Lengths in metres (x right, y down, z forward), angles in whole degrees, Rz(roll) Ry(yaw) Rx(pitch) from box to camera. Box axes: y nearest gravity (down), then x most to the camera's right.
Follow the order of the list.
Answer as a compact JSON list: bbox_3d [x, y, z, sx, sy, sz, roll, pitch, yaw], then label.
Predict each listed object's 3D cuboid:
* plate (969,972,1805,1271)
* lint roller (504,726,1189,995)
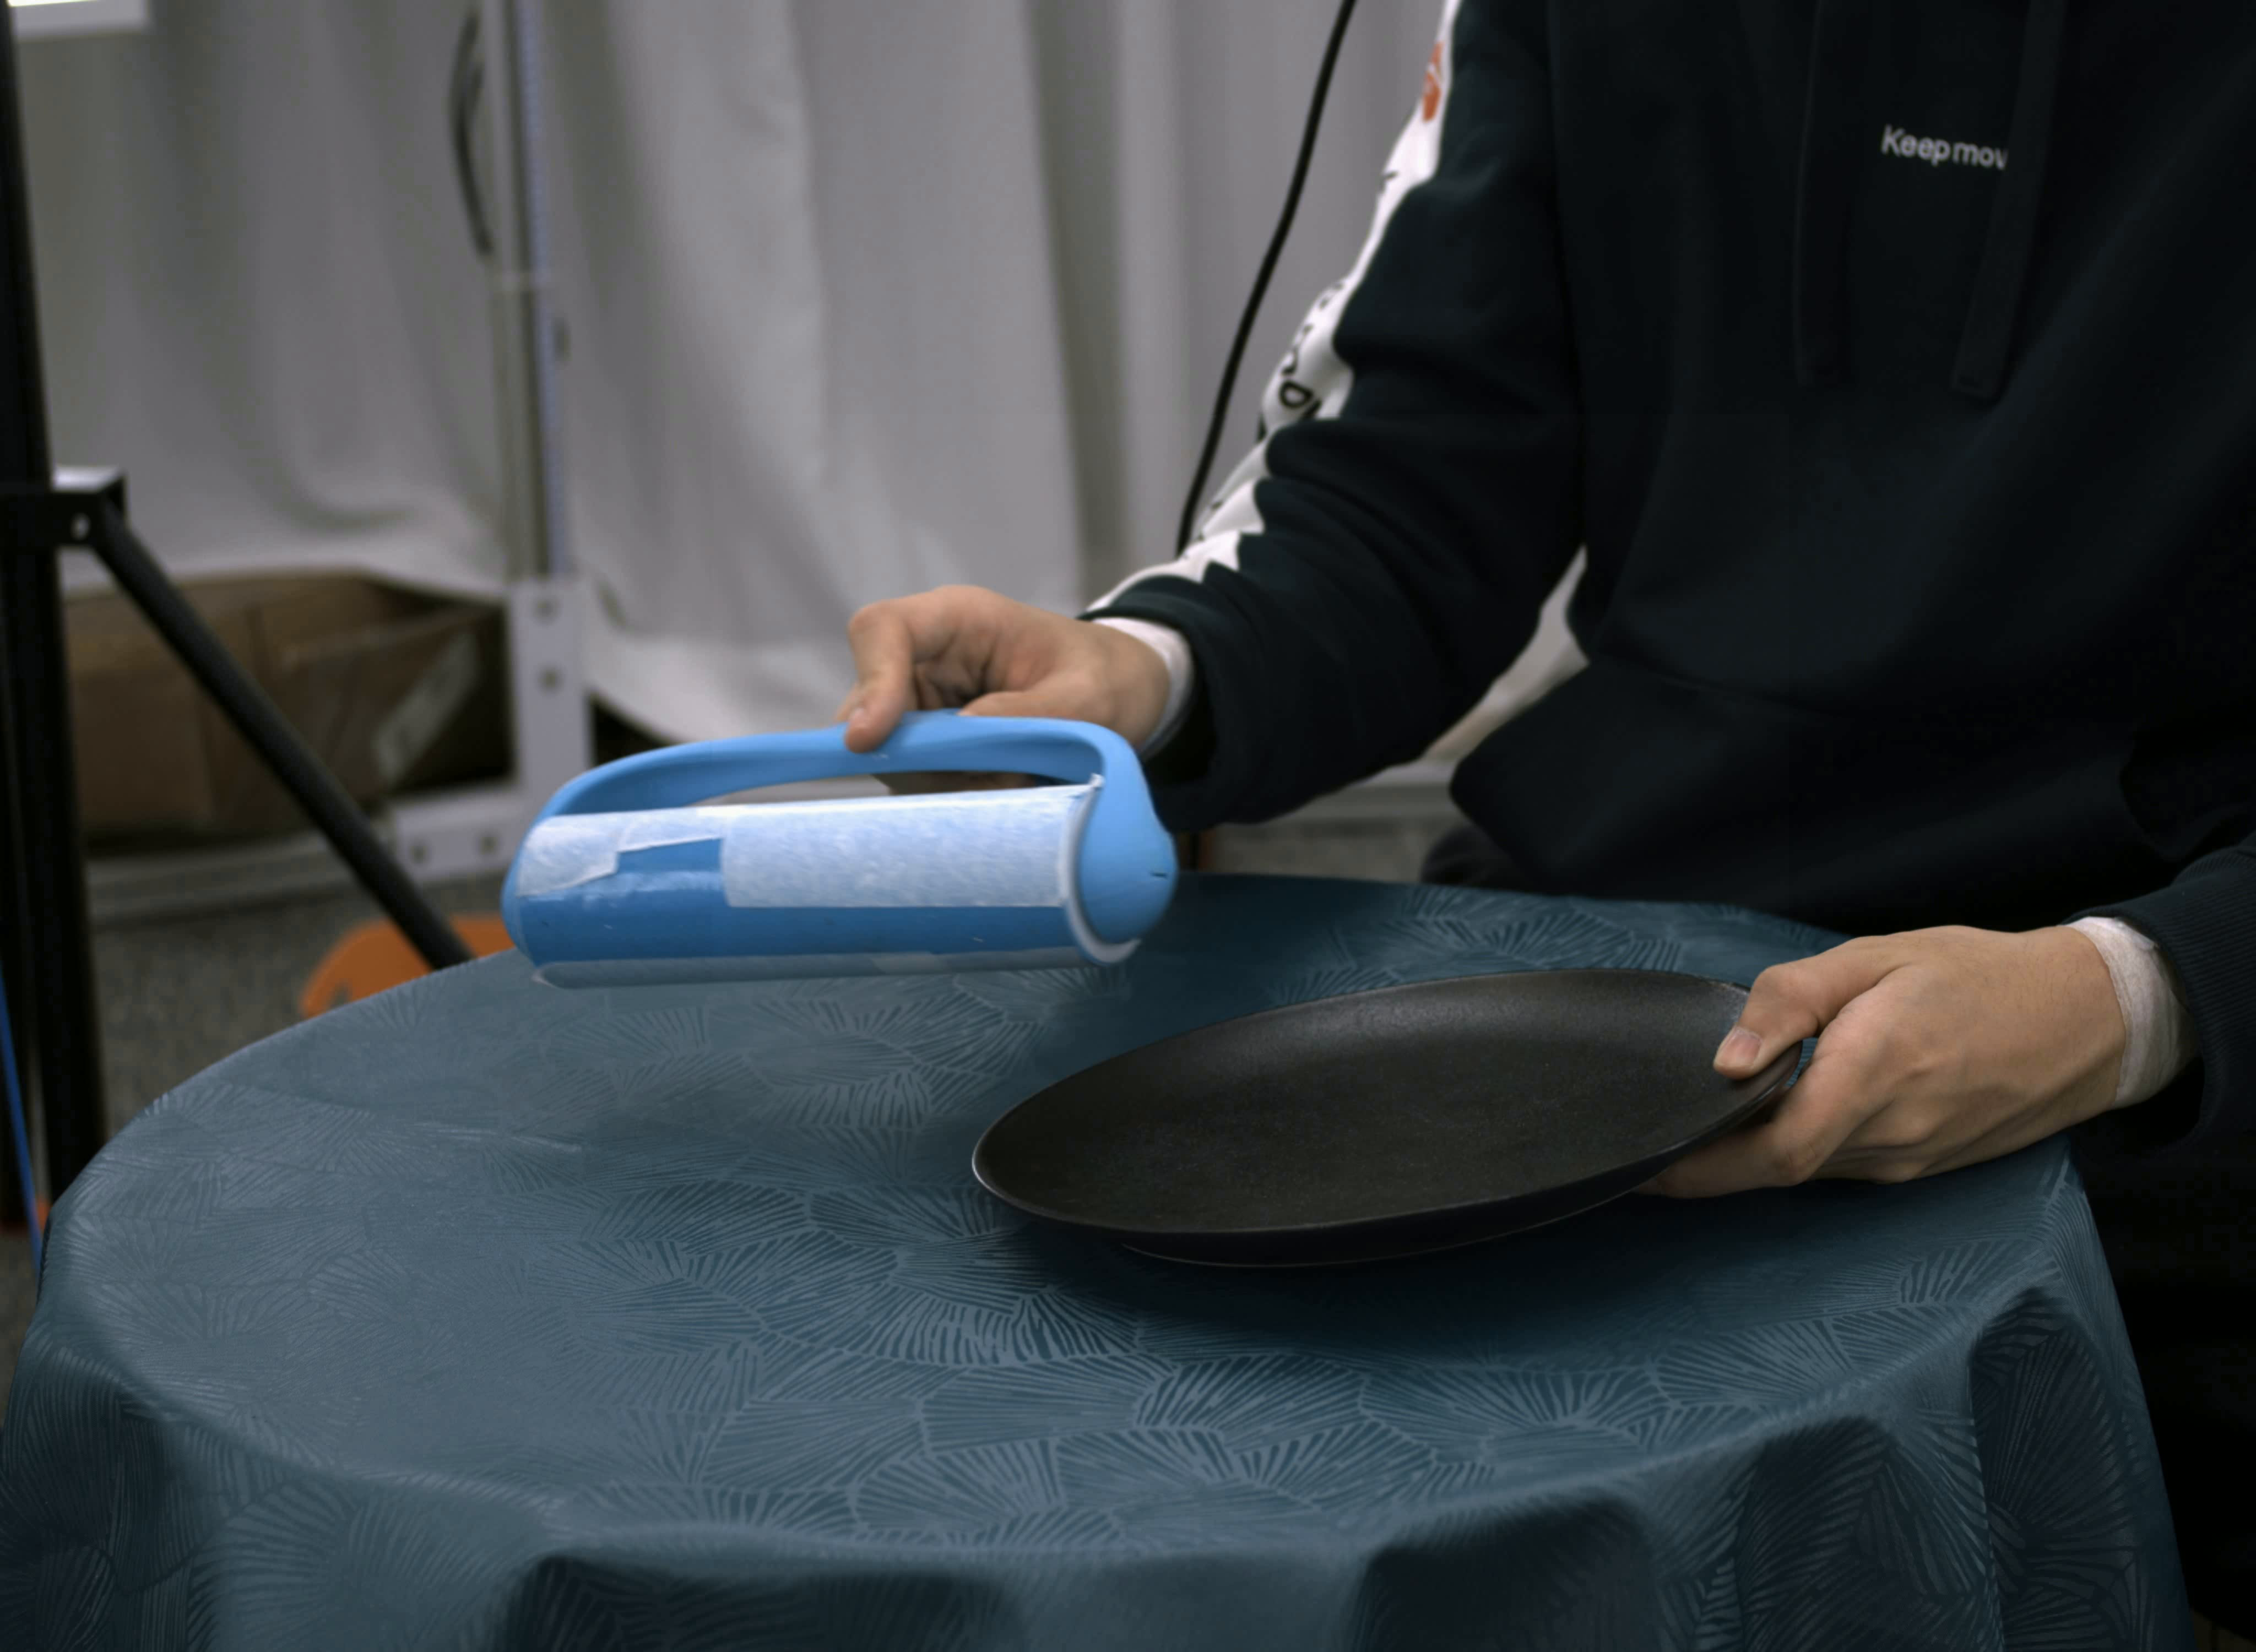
[{"bbox_3d":[0.076,0.088,1.531,0.243,0.023,0.245,-10,13,1],"label":"plate"},{"bbox_3d":[-0.064,0.000,1.635,0.232,0.068,0.178,-5,17,27],"label":"lint roller"}]
